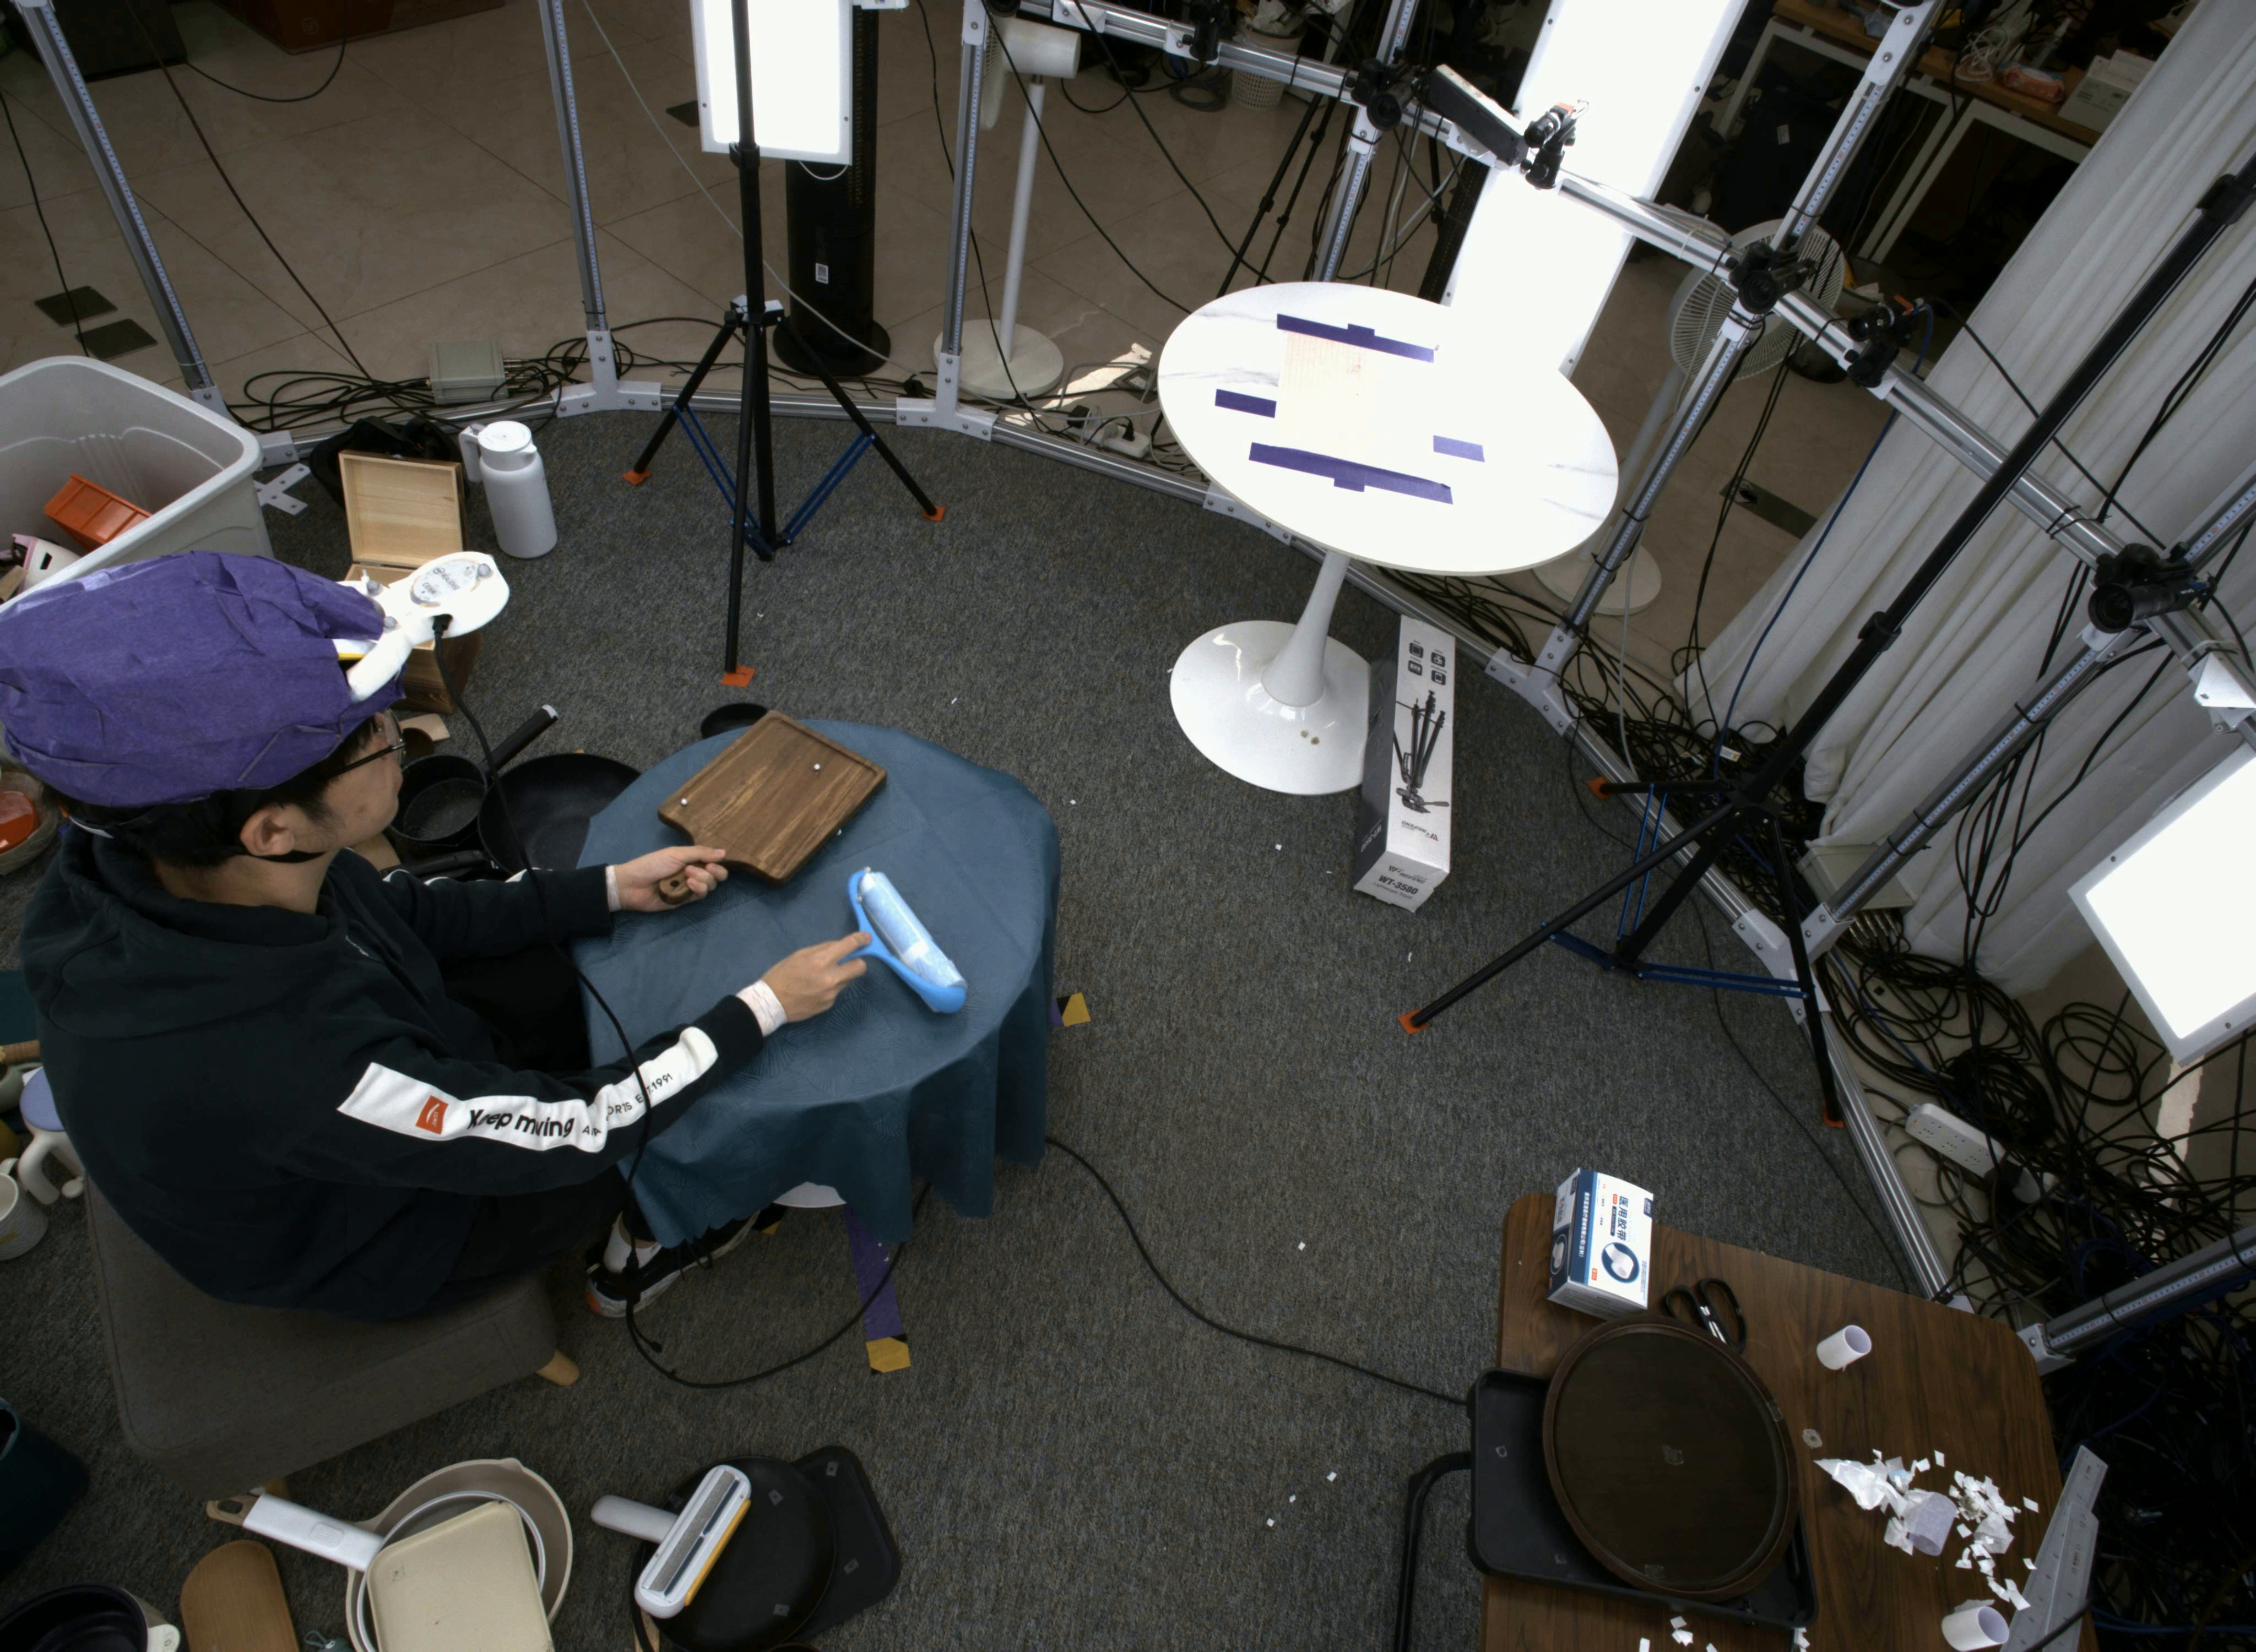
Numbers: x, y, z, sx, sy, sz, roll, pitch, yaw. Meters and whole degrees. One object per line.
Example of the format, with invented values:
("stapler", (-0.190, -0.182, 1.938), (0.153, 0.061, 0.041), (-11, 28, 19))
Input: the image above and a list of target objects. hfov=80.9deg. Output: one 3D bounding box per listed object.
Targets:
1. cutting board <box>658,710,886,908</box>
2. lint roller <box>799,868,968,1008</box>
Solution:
("cutting board", (-0.490, -0.015, 1.685), (0.198, 0.023, 0.350), (28, 46, 7))
("lint roller", (-0.318, 0.156, 1.588), (0.181, 0.069, 0.224), (-27, 65, -38))
